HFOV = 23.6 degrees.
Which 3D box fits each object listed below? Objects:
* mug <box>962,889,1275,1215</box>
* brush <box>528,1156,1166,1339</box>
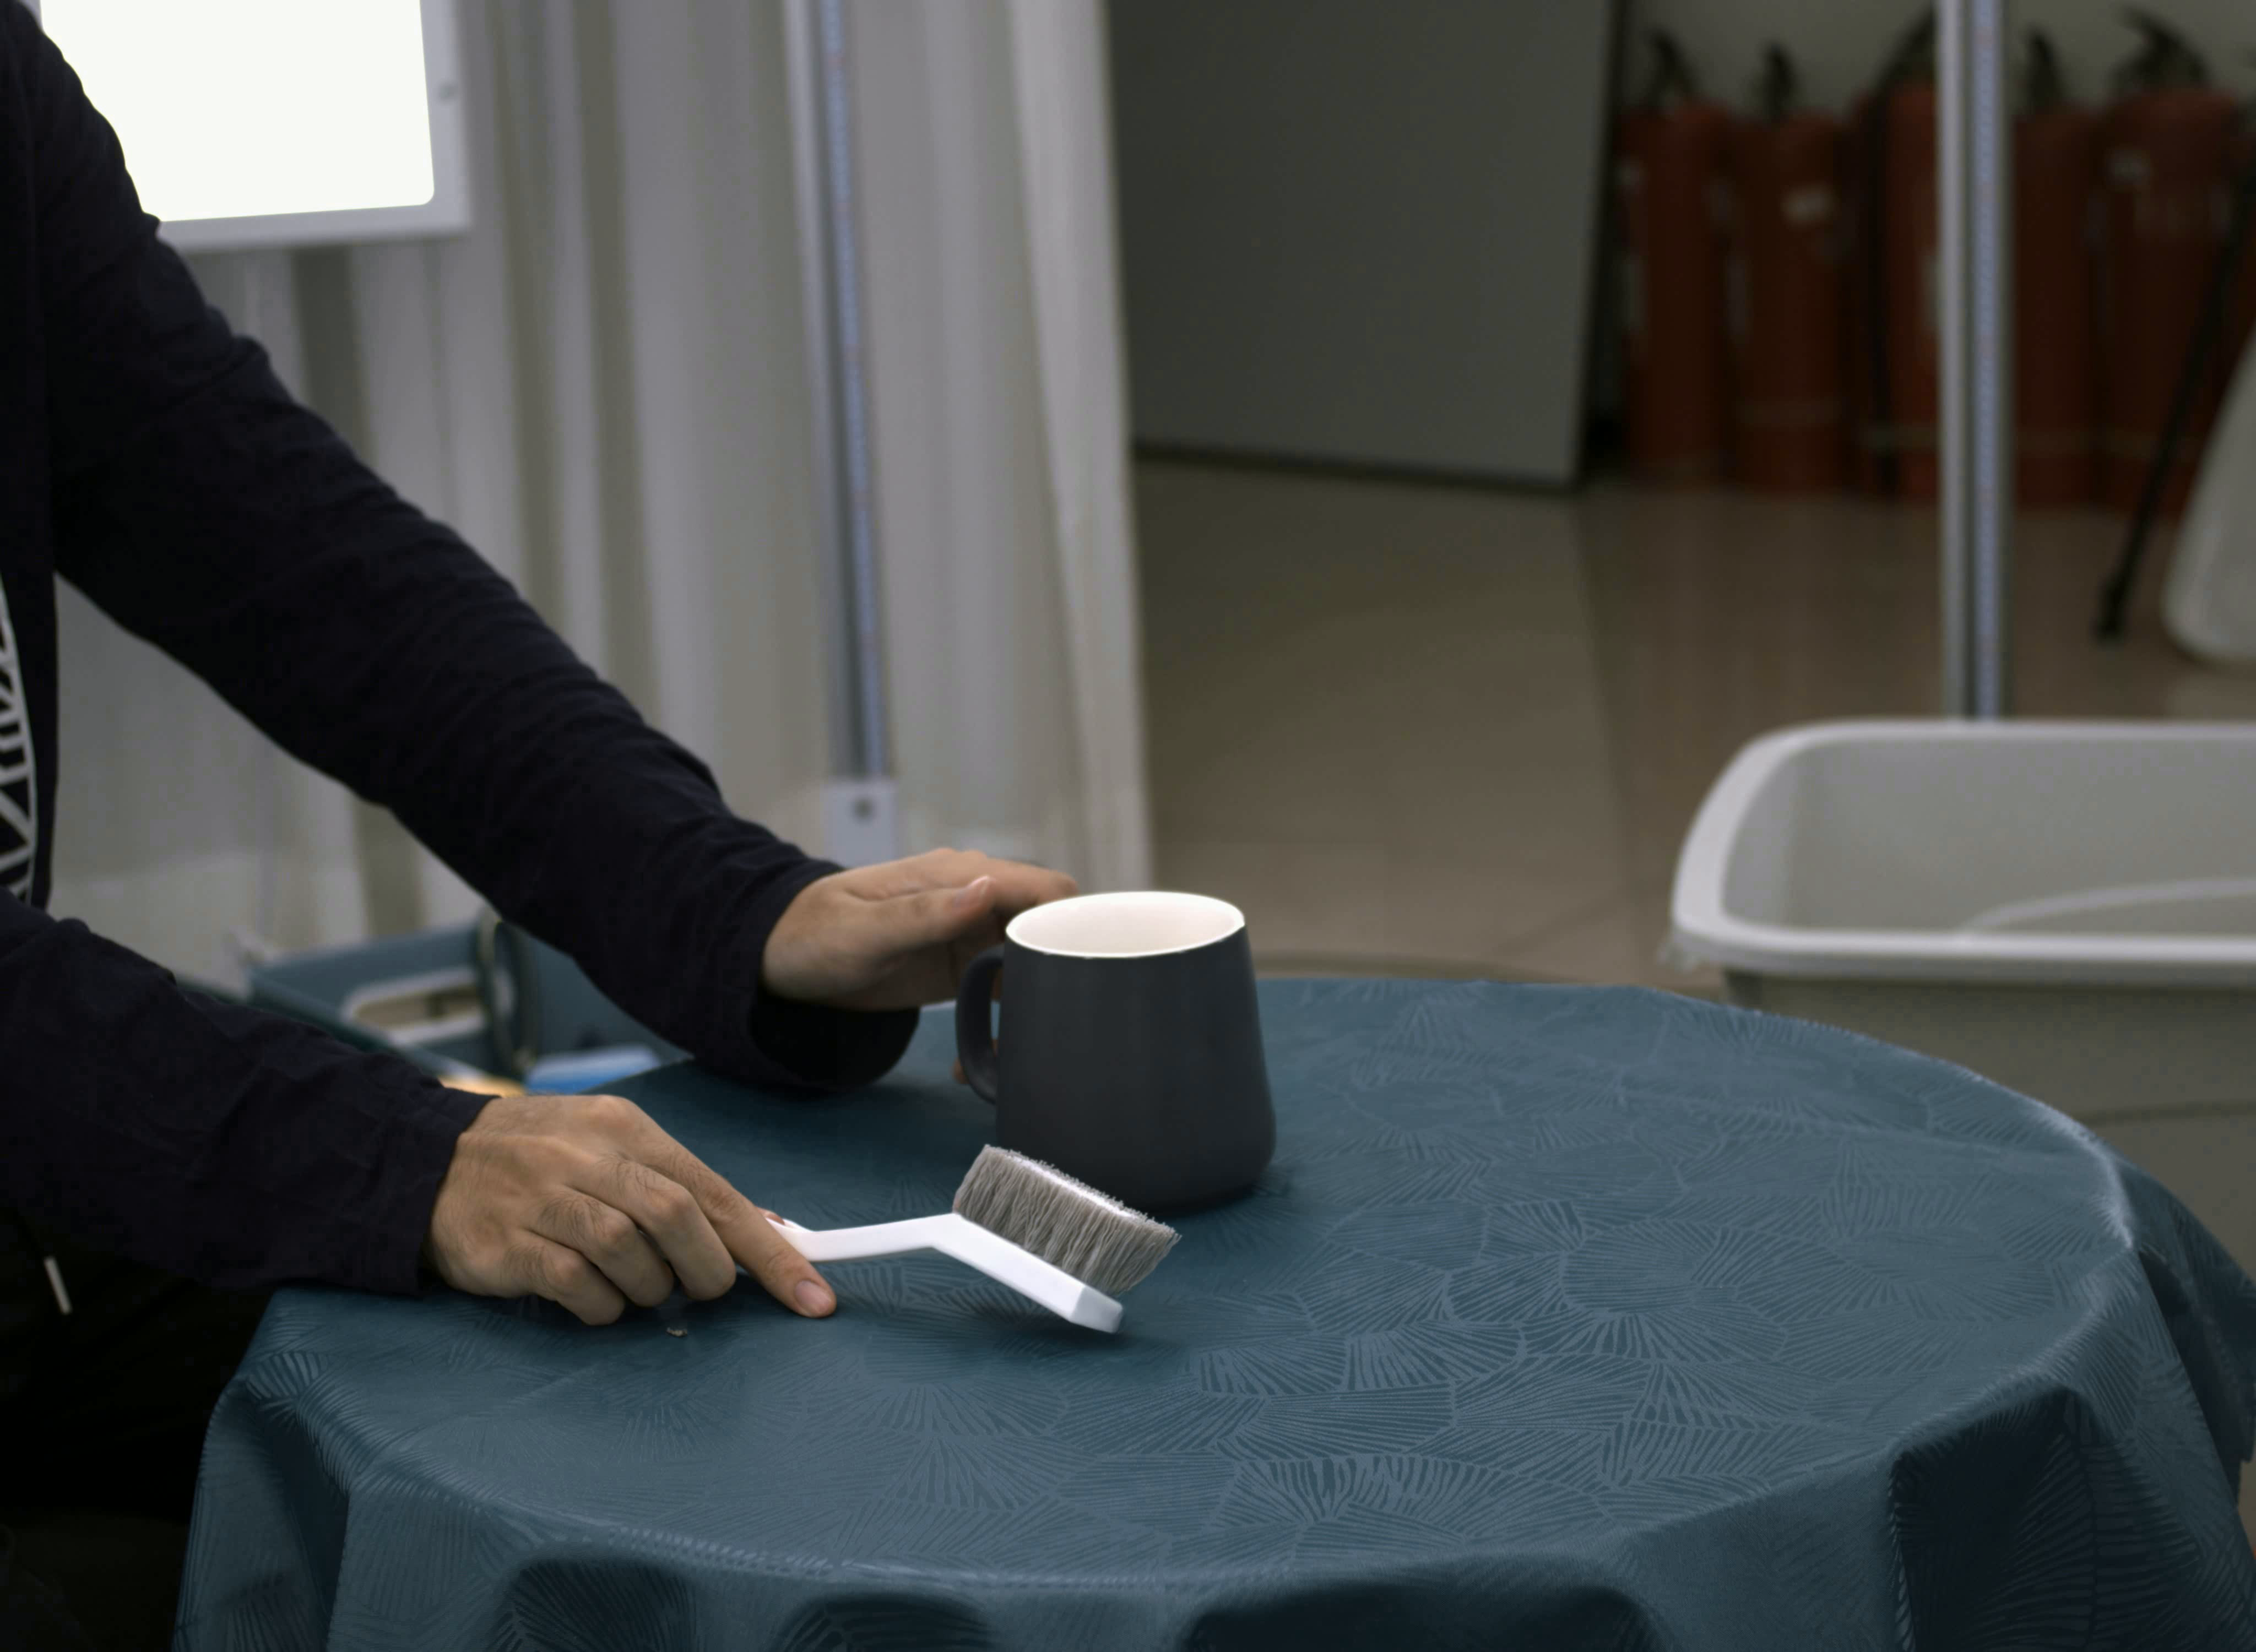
[{"bbox_3d":[-0.009,0.072,1.782,0.091,0.091,0.124,-14,18,-42],"label":"mug"},{"bbox_3d":[-0.093,0.123,1.694,0.245,0.051,0.034,5,-3,37],"label":"brush"}]
